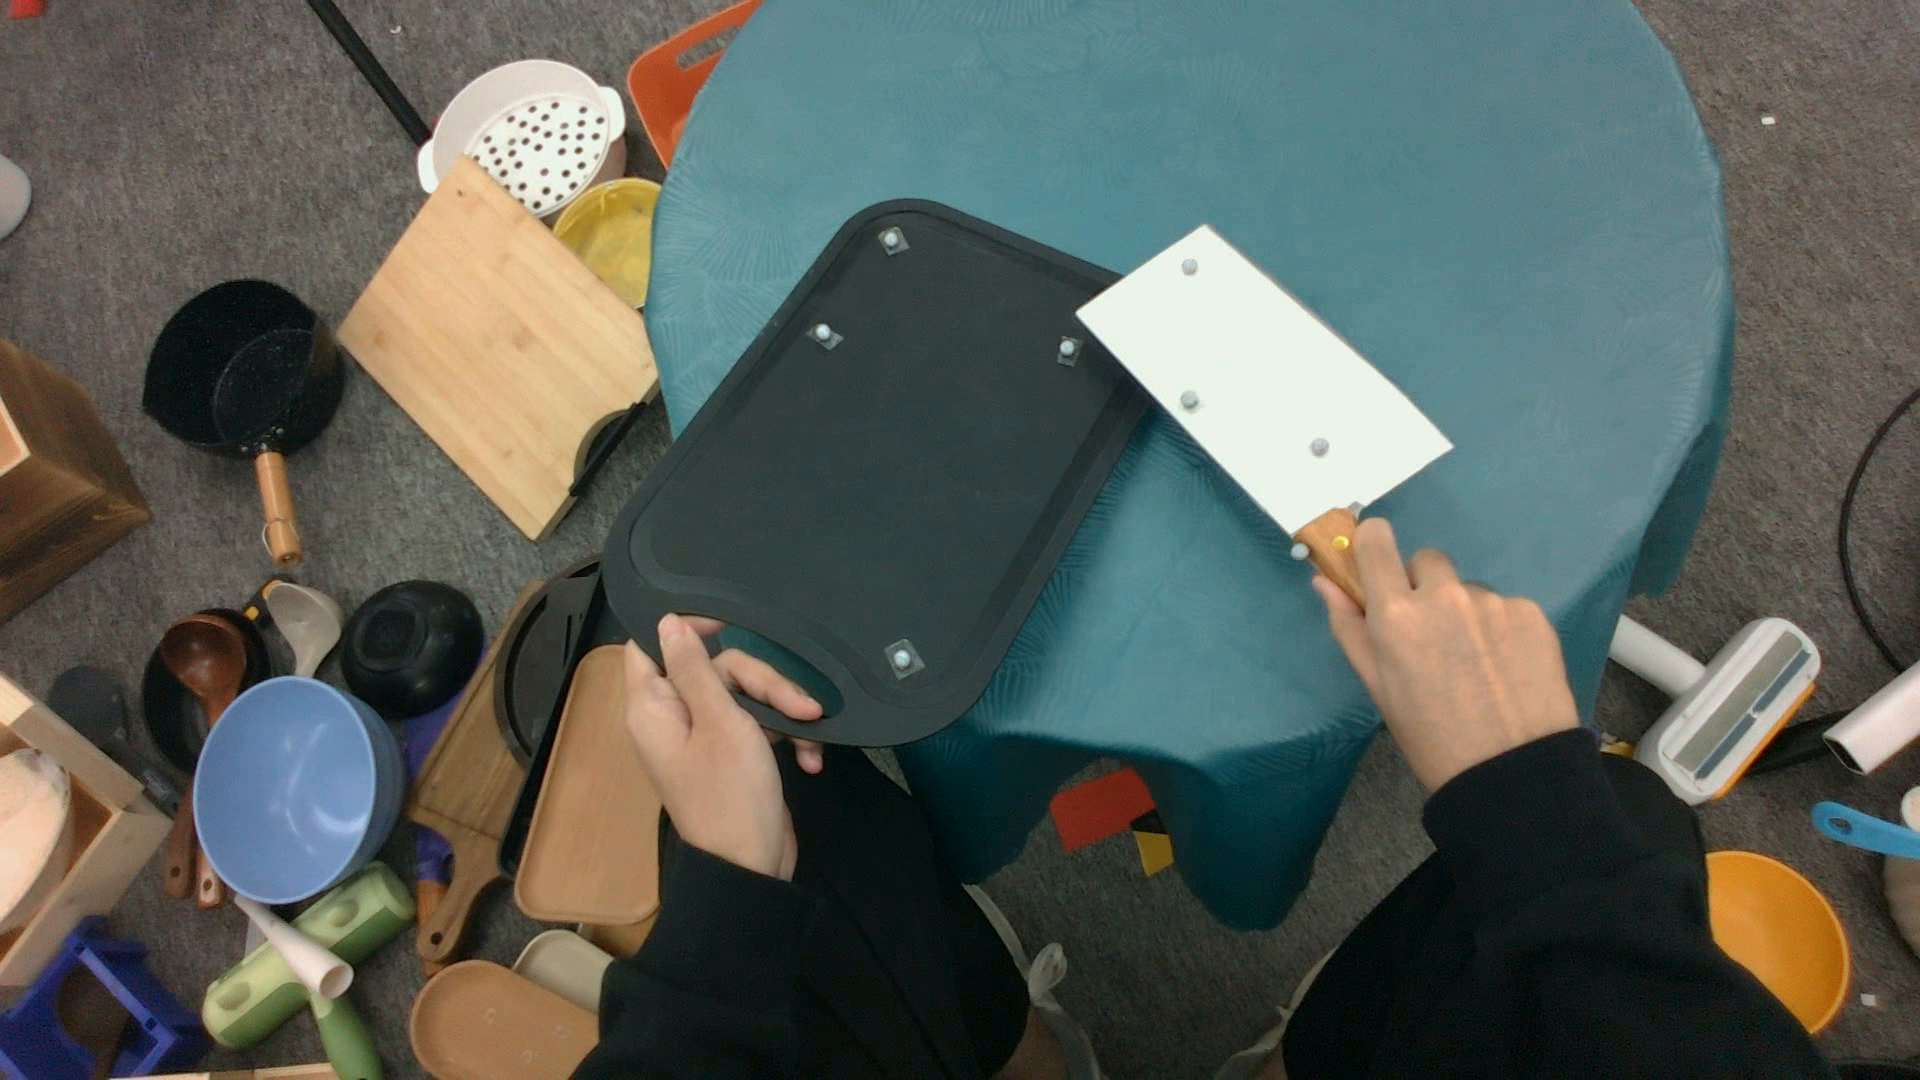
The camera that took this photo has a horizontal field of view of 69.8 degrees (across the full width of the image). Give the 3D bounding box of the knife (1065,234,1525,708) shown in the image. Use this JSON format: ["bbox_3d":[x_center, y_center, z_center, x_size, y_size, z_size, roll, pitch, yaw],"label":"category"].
[{"bbox_3d":[0.171,-0.052,0.671,0.093,0.021,0.306,-34,59,-8],"label":"knife"}]

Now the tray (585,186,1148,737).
[{"bbox_3d":[-0.041,-0.052,0.710,0.211,0.010,0.327,25,63,14],"label":"tray"}]
